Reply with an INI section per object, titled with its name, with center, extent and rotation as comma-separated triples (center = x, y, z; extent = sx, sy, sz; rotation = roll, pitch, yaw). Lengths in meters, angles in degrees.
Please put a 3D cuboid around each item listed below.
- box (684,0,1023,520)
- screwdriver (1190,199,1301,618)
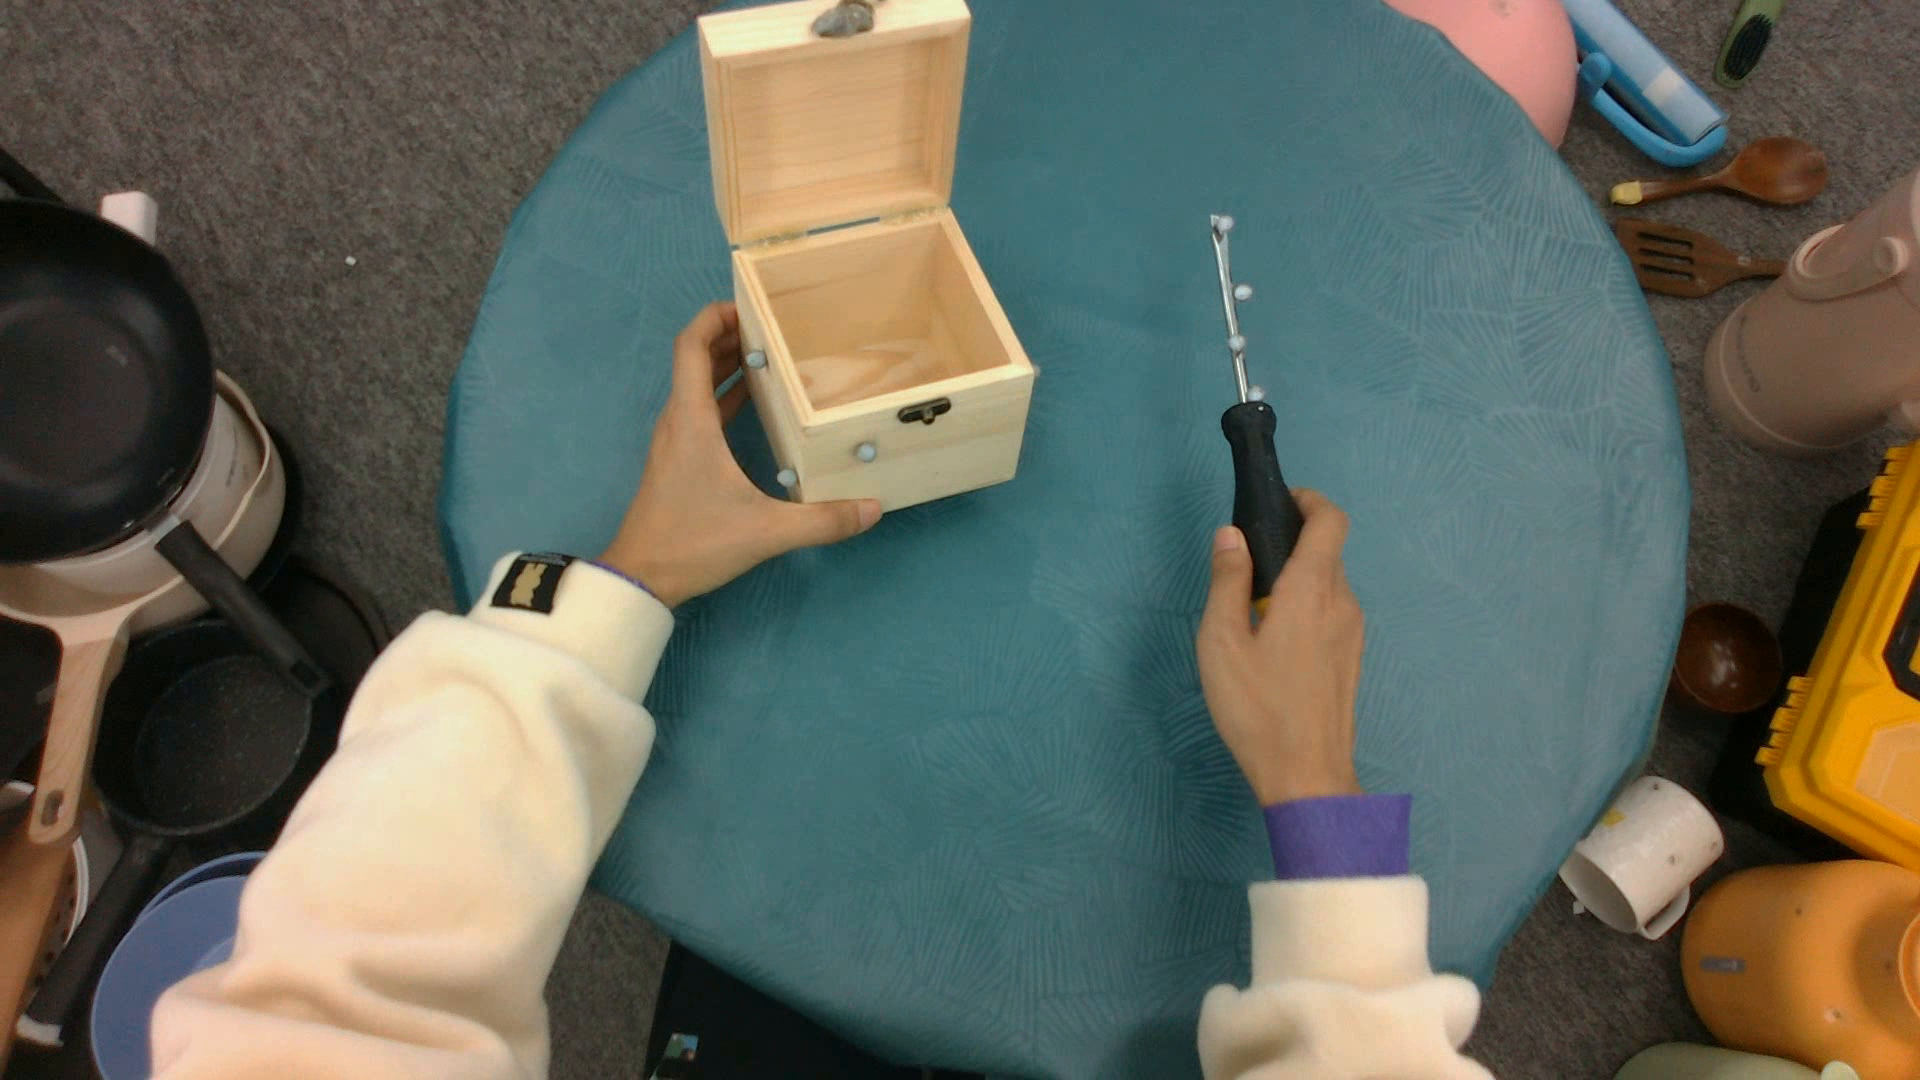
[box]
center = -0.041, -0.119, 0.566
extent = 0.103, 0.183, 0.134
rotation = -16, 56, -17
[screwdriver]
center = 0.123, -0.062, 0.605
extent = 0.031, 0.031, 0.198
rotation = -3, 71, -3
